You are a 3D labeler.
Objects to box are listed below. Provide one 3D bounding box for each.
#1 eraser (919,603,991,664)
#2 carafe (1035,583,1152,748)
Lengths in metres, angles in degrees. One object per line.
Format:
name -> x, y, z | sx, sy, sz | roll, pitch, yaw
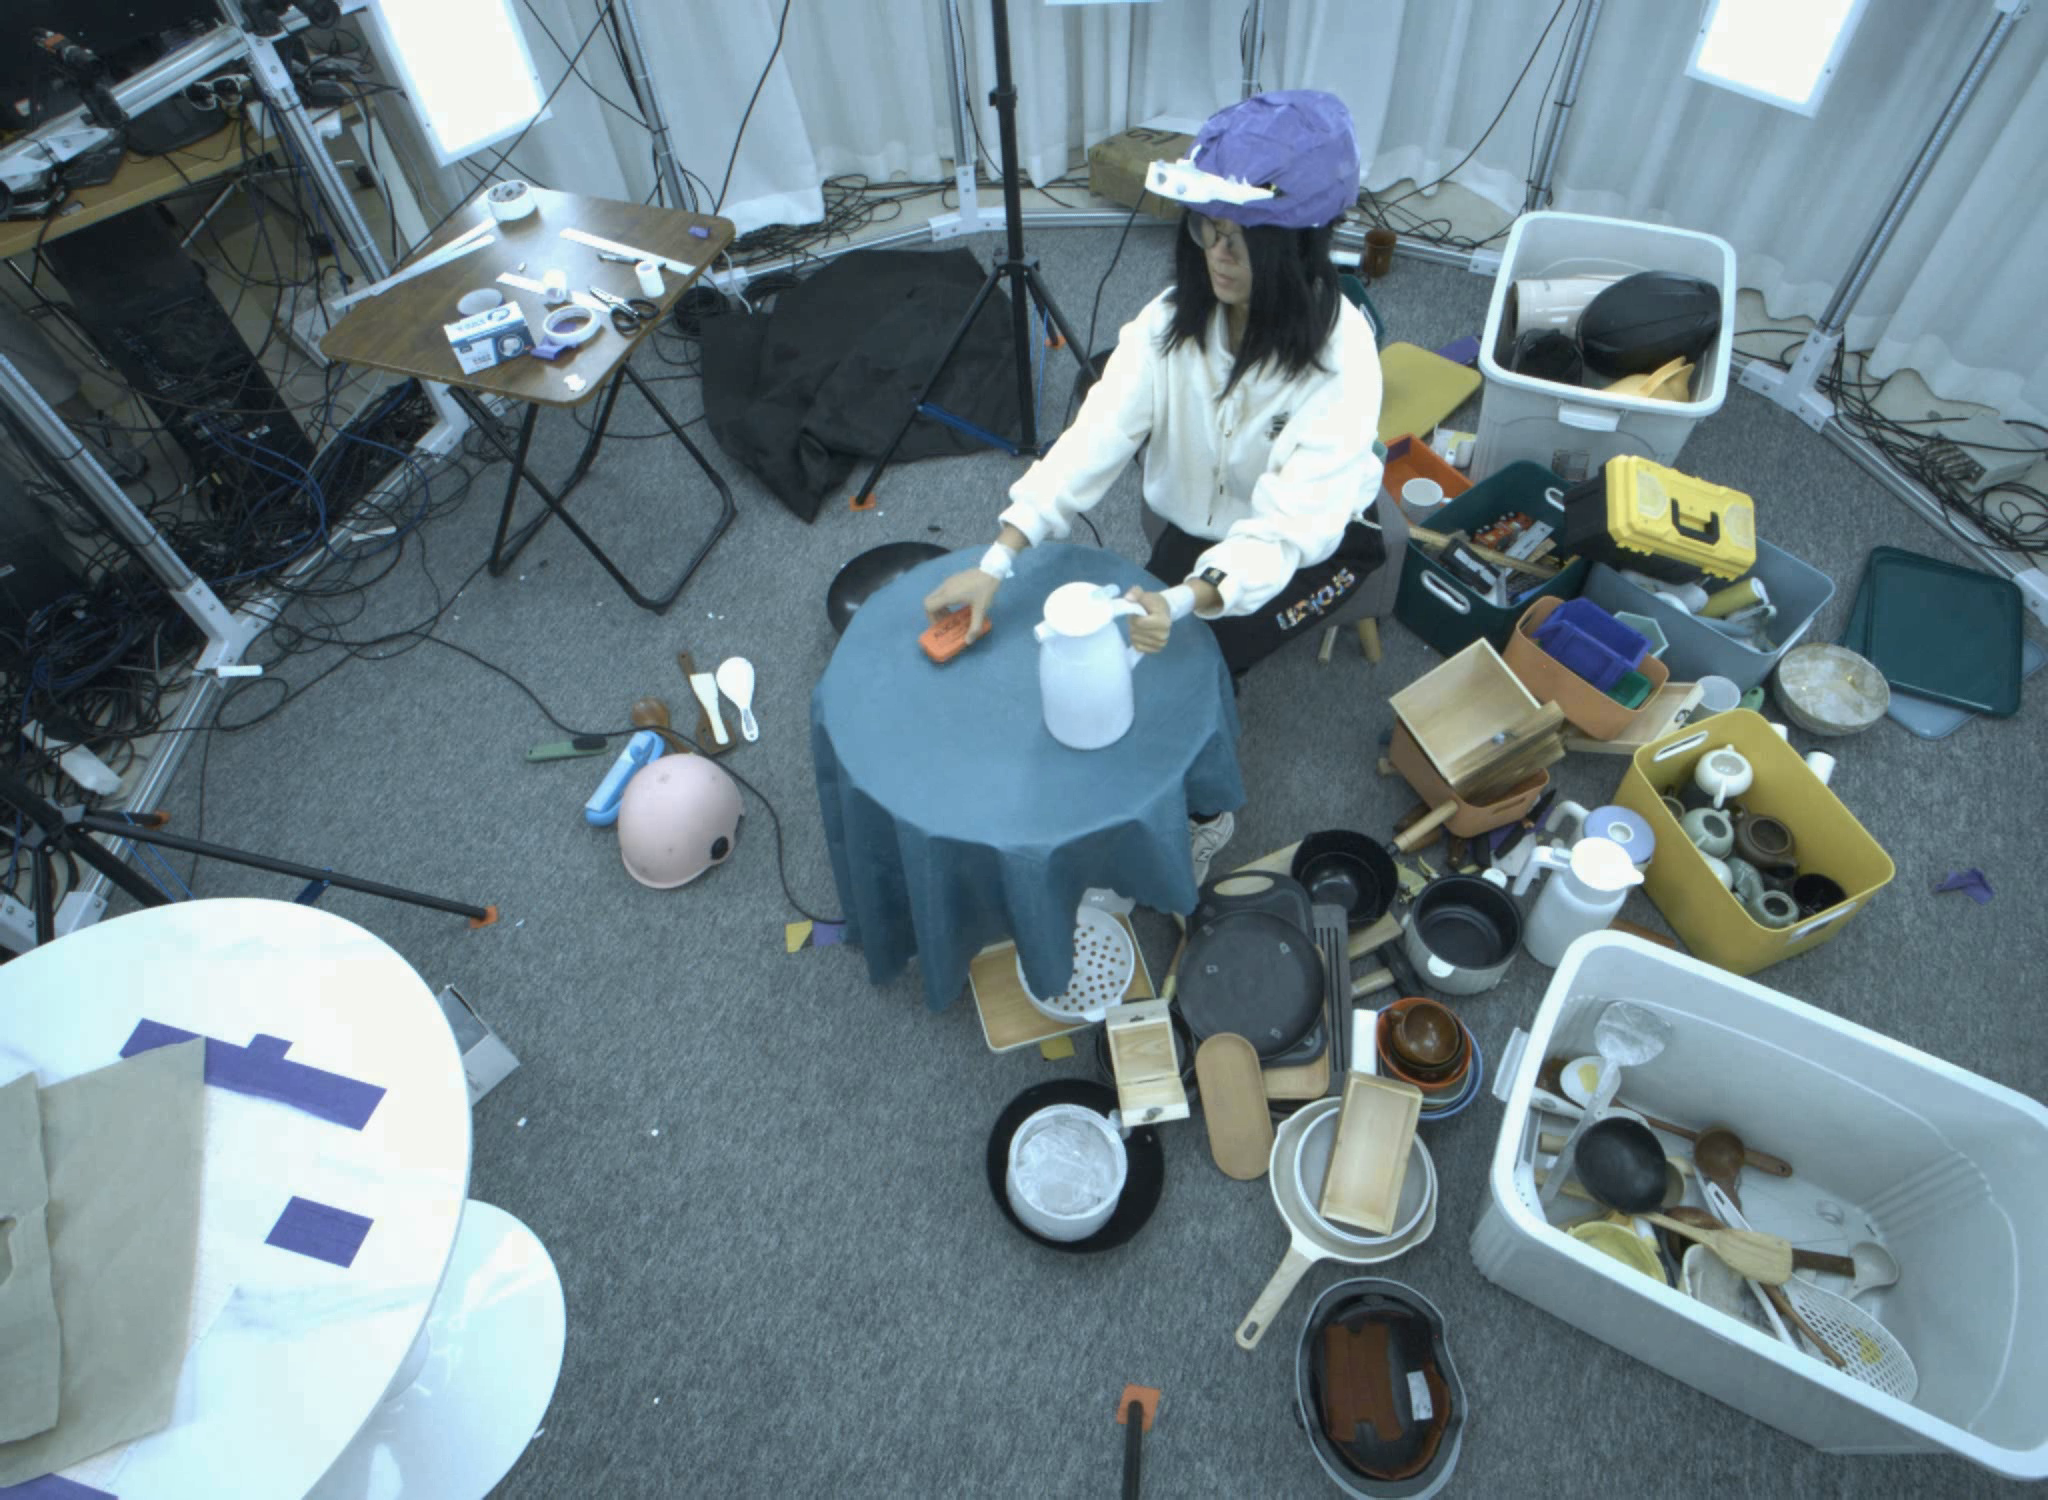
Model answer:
eraser -> -0.107, -0.181, 1.903 | 0.109, 0.023, 0.058 | -38, 66, -22
carafe -> 0.100, -0.131, 1.717 | 0.169, 0.251, 0.130 | -25, 59, -10
